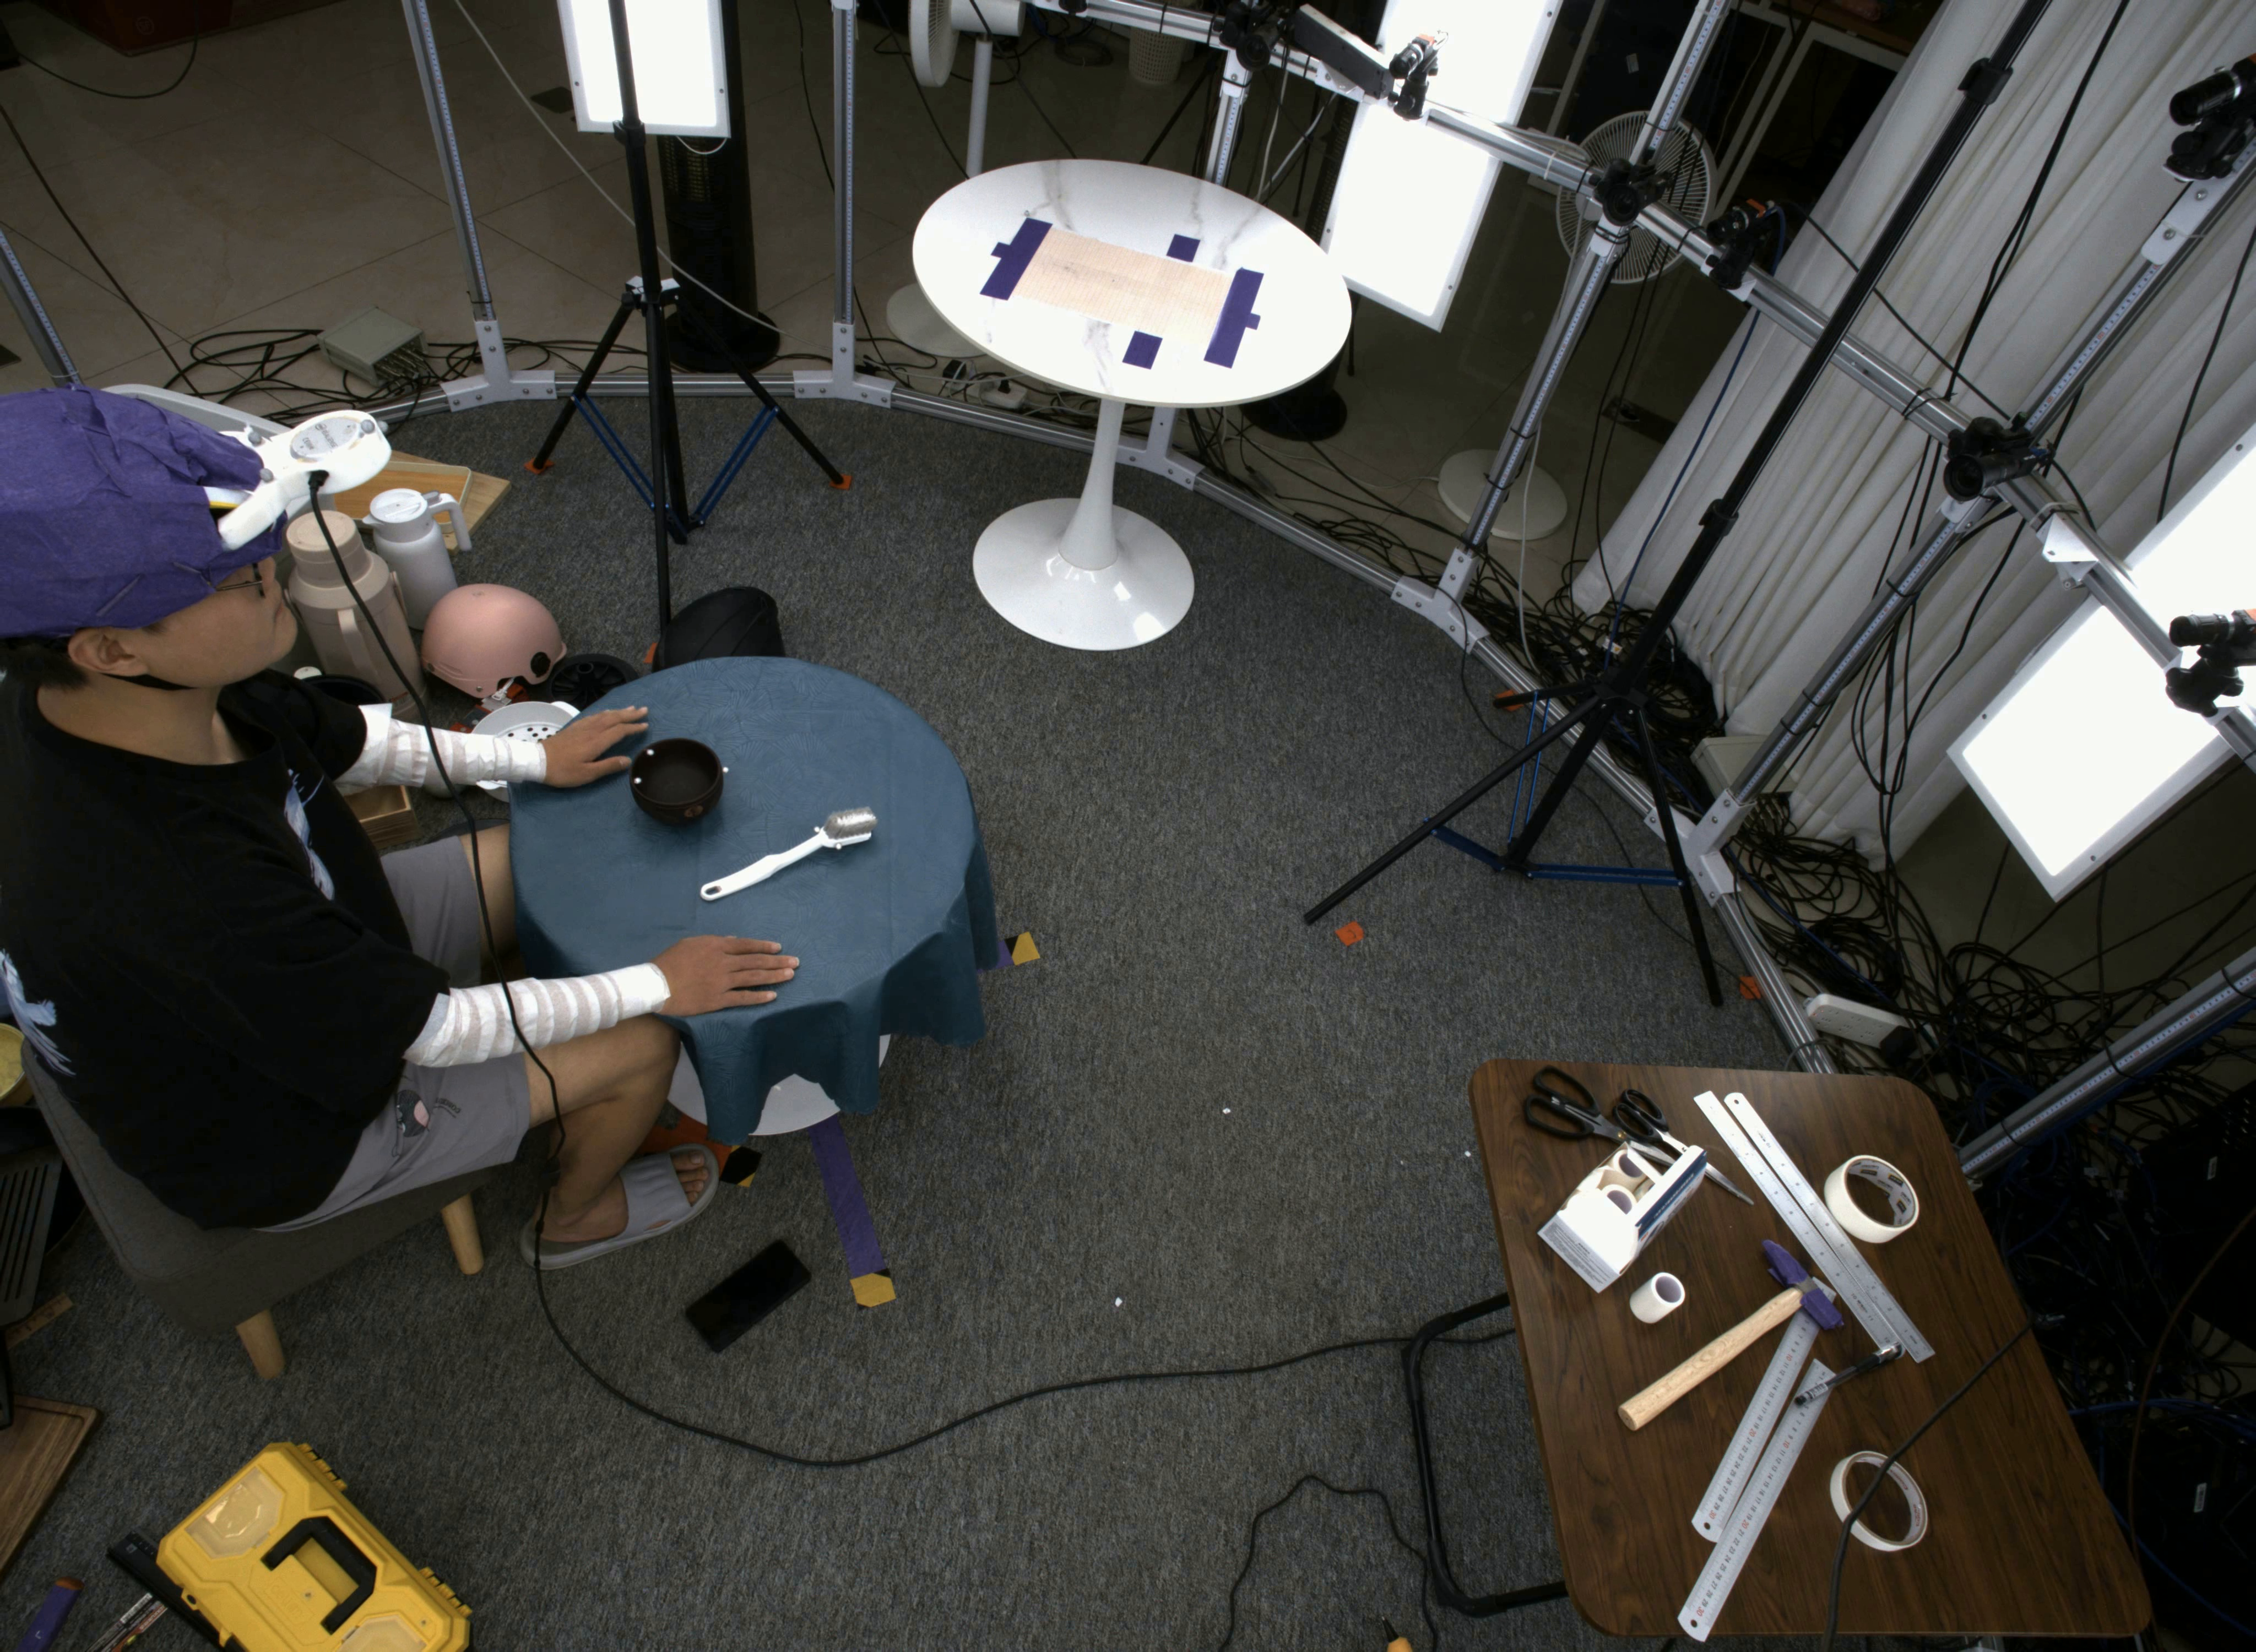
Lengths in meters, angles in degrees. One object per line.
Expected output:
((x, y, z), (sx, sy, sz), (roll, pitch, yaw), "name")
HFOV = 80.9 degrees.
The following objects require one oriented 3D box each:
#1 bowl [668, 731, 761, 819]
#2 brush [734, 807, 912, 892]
((-0.543, -0.061, 1.703), (0.117, 0.071, 0.116), (6, 55, -7), "bowl")
((-0.397, 0.026, 1.689), (0.245, 0.051, 0.033), (-20, 59, -27), "brush")
